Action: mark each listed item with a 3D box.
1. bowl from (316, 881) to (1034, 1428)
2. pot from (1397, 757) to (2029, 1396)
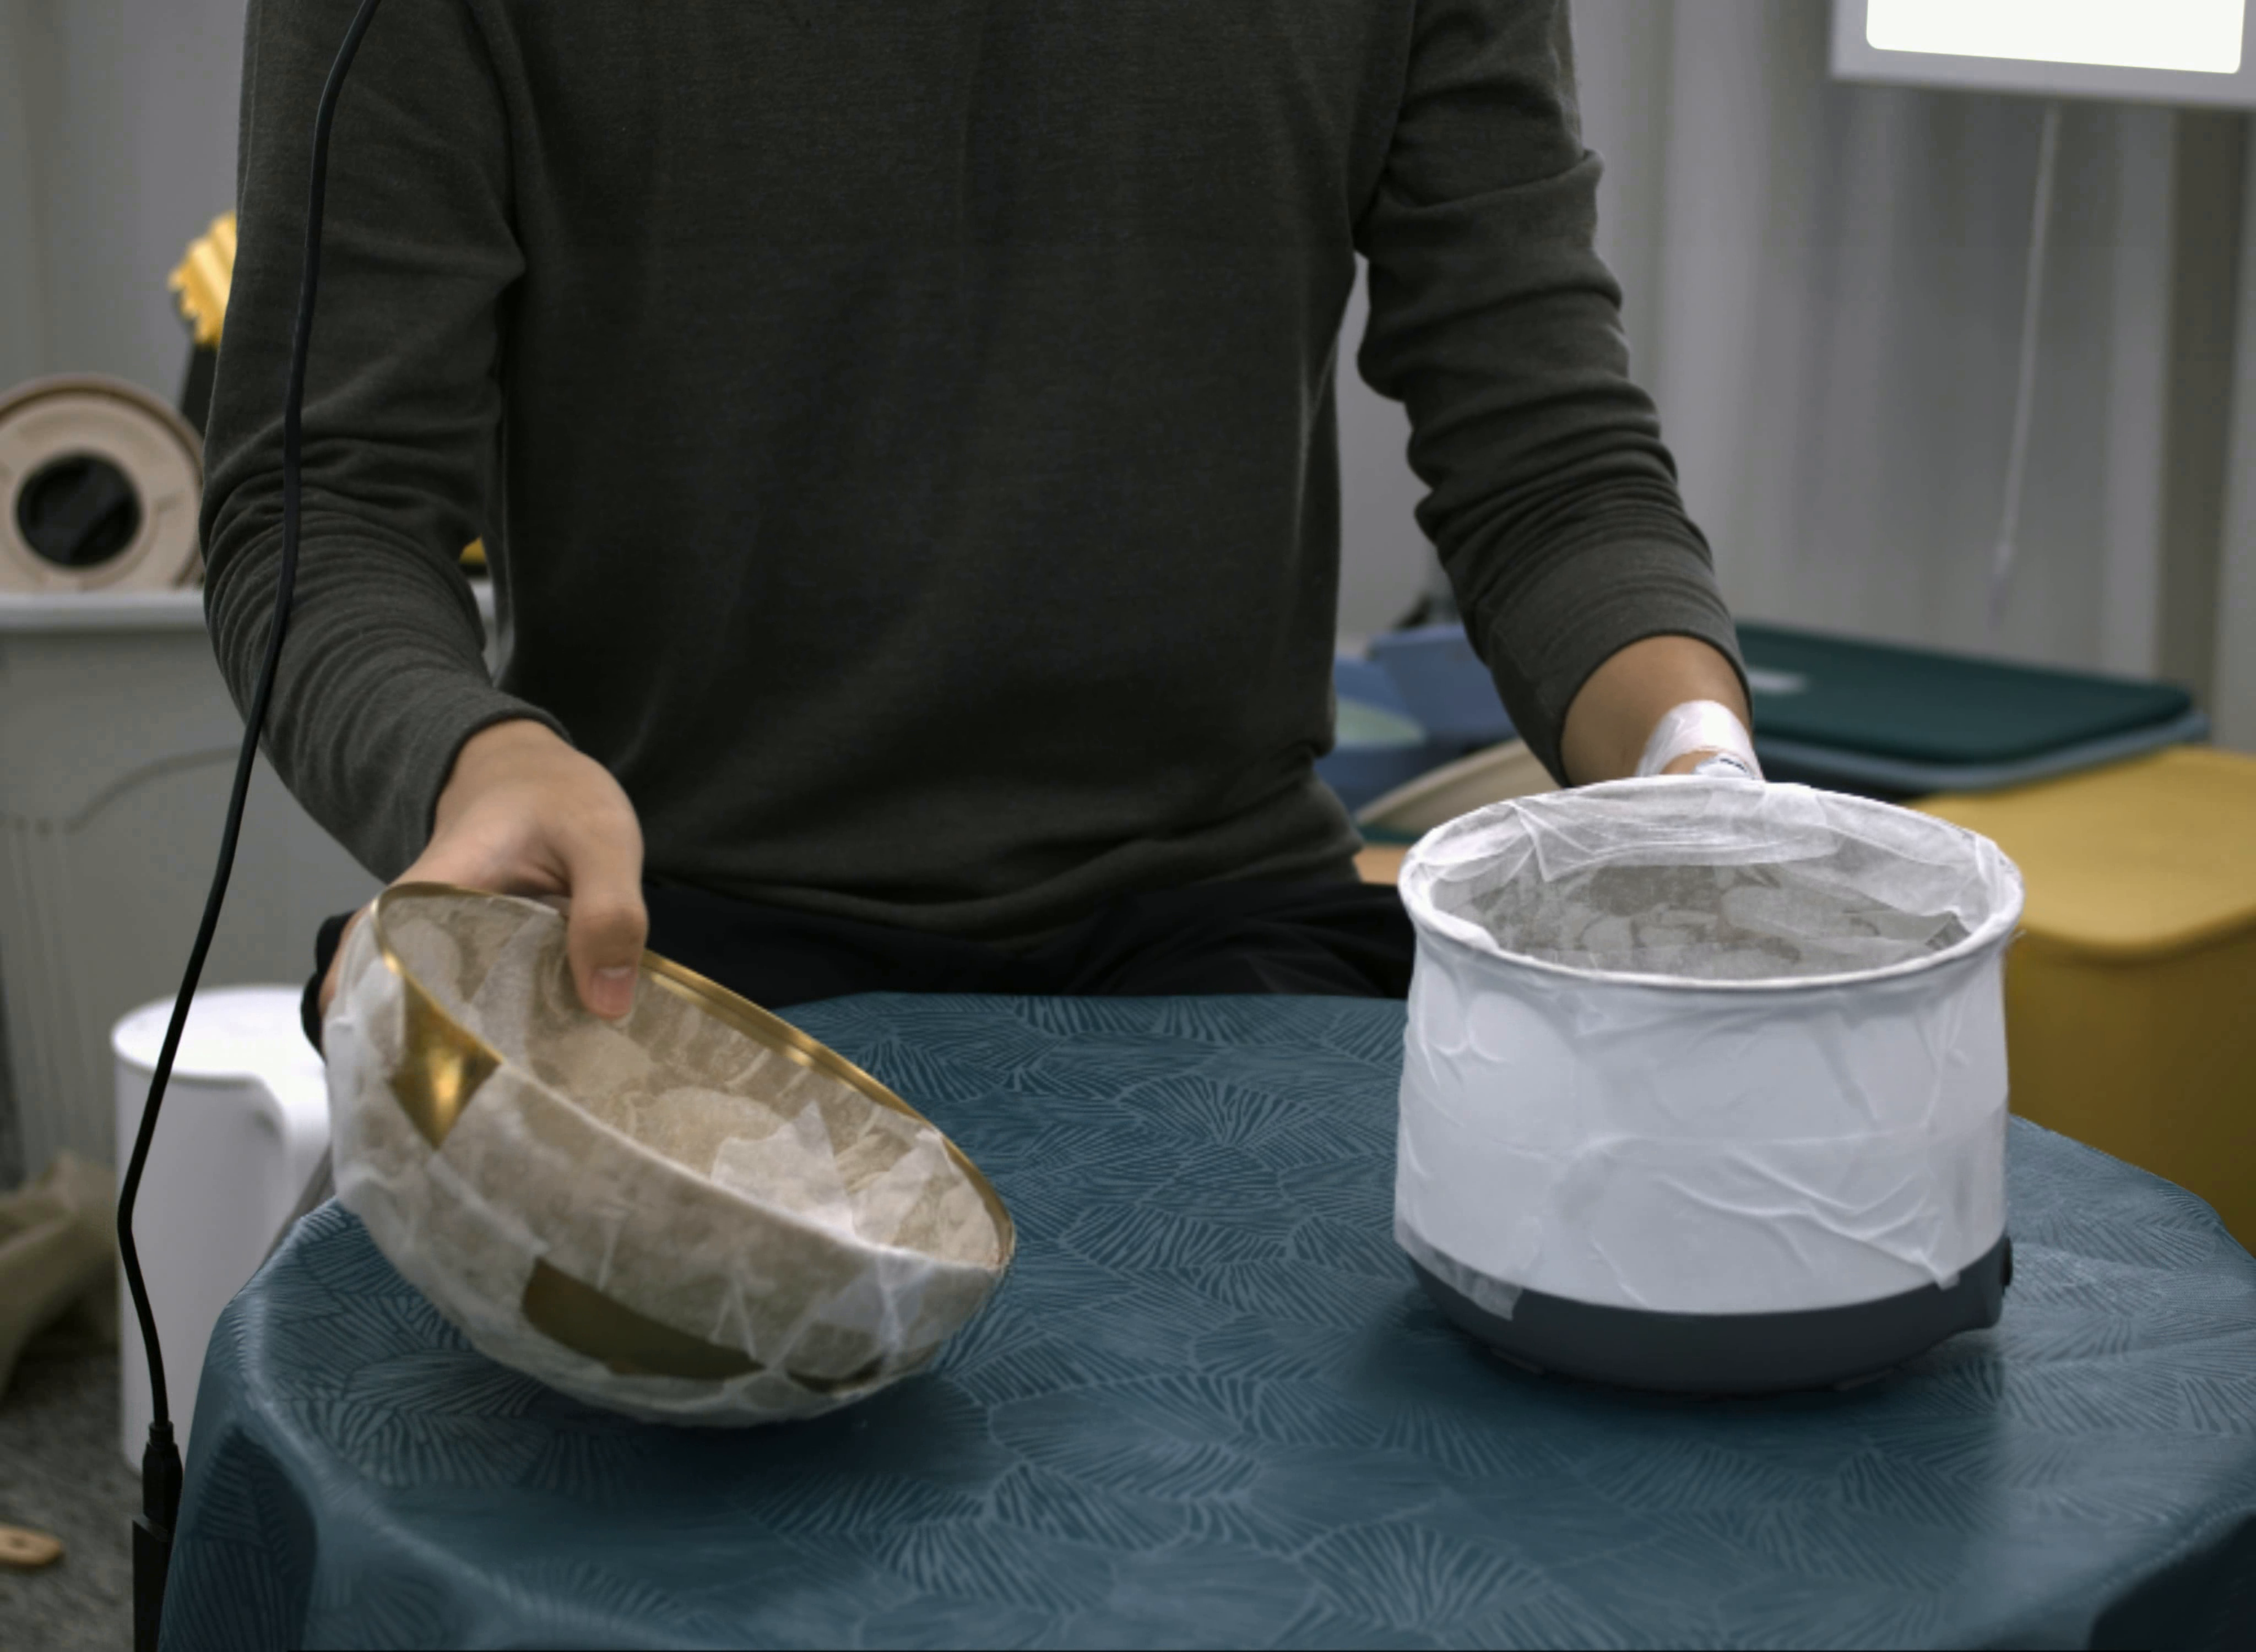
[{"bbox_3d":[-0.138,0.102,1.435,0.215,0.095,0.214,27,10,-5],"label":"bowl"},{"bbox_3d":[0.168,0.066,1.528,0.178,0.138,0.233,2,18,7],"label":"pot"}]
